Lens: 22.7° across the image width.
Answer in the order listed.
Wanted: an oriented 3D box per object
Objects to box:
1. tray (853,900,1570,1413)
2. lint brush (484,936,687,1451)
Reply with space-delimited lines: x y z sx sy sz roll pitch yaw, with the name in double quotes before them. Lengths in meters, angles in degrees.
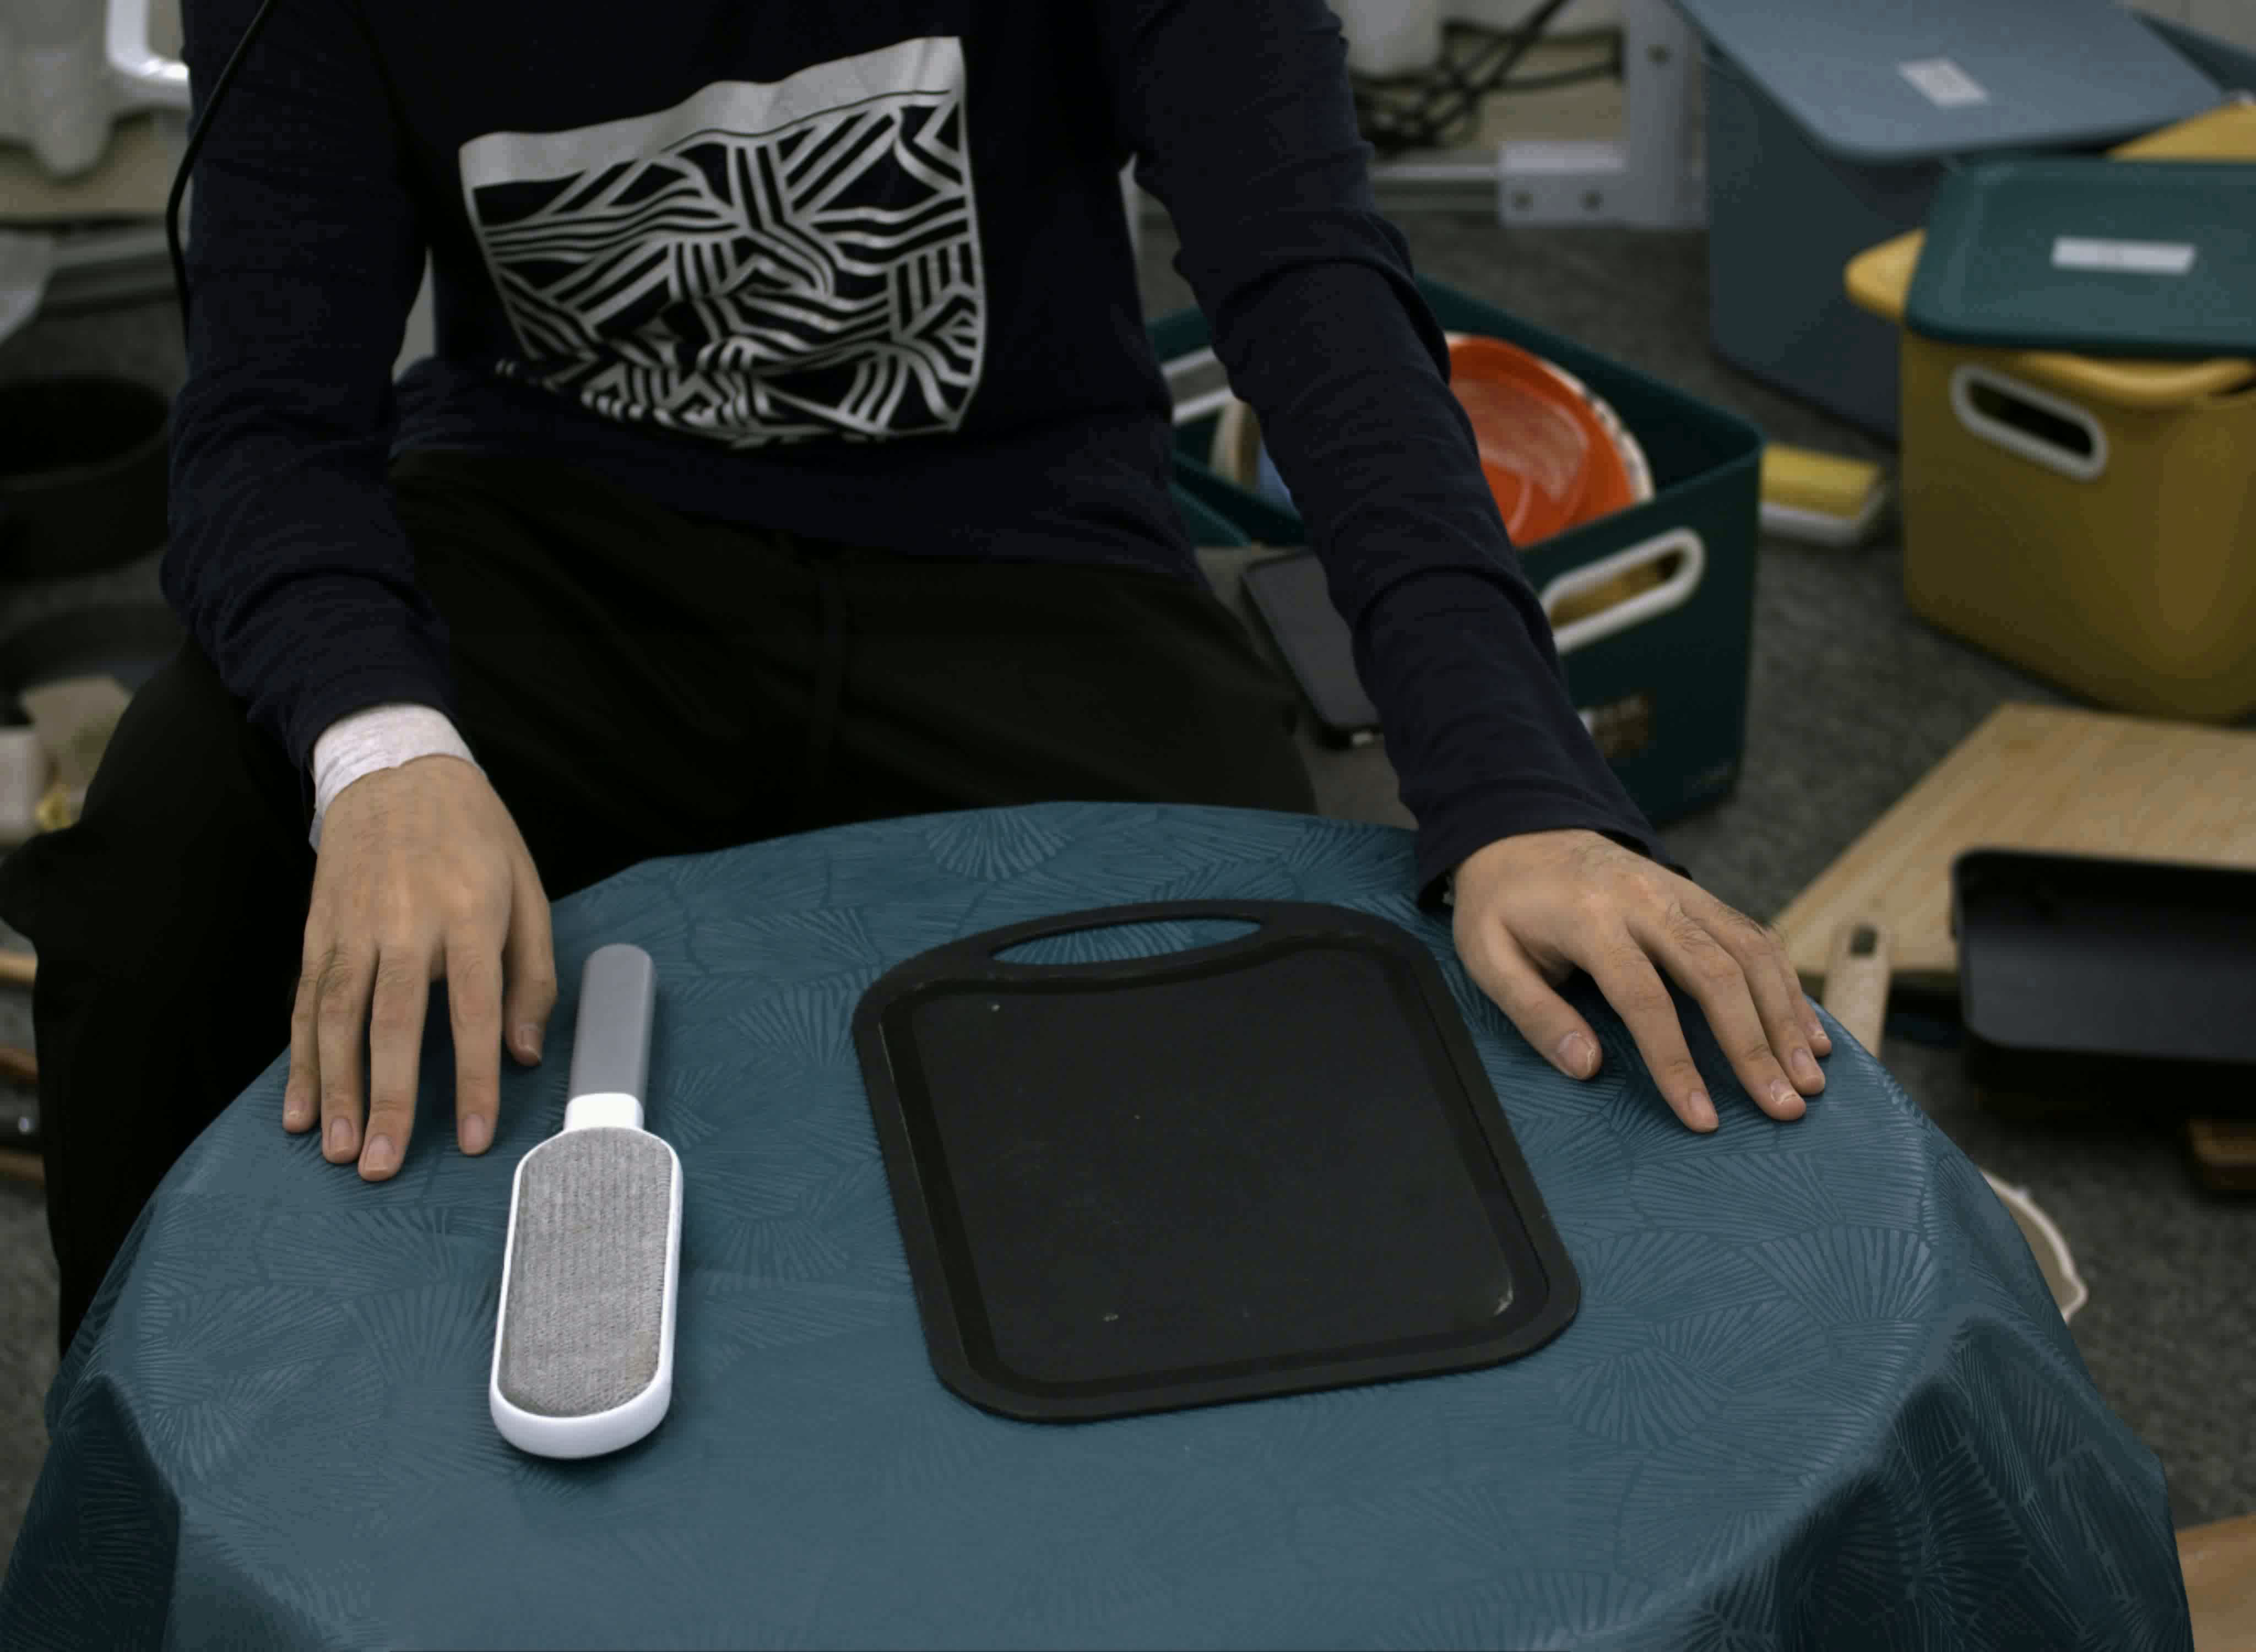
"tray" 0.020 0.102 1.891 0.210 0.009 0.329 -6 27 -6
"lint brush" -0.175 0.116 1.858 0.060 0.021 0.313 -8 27 2
